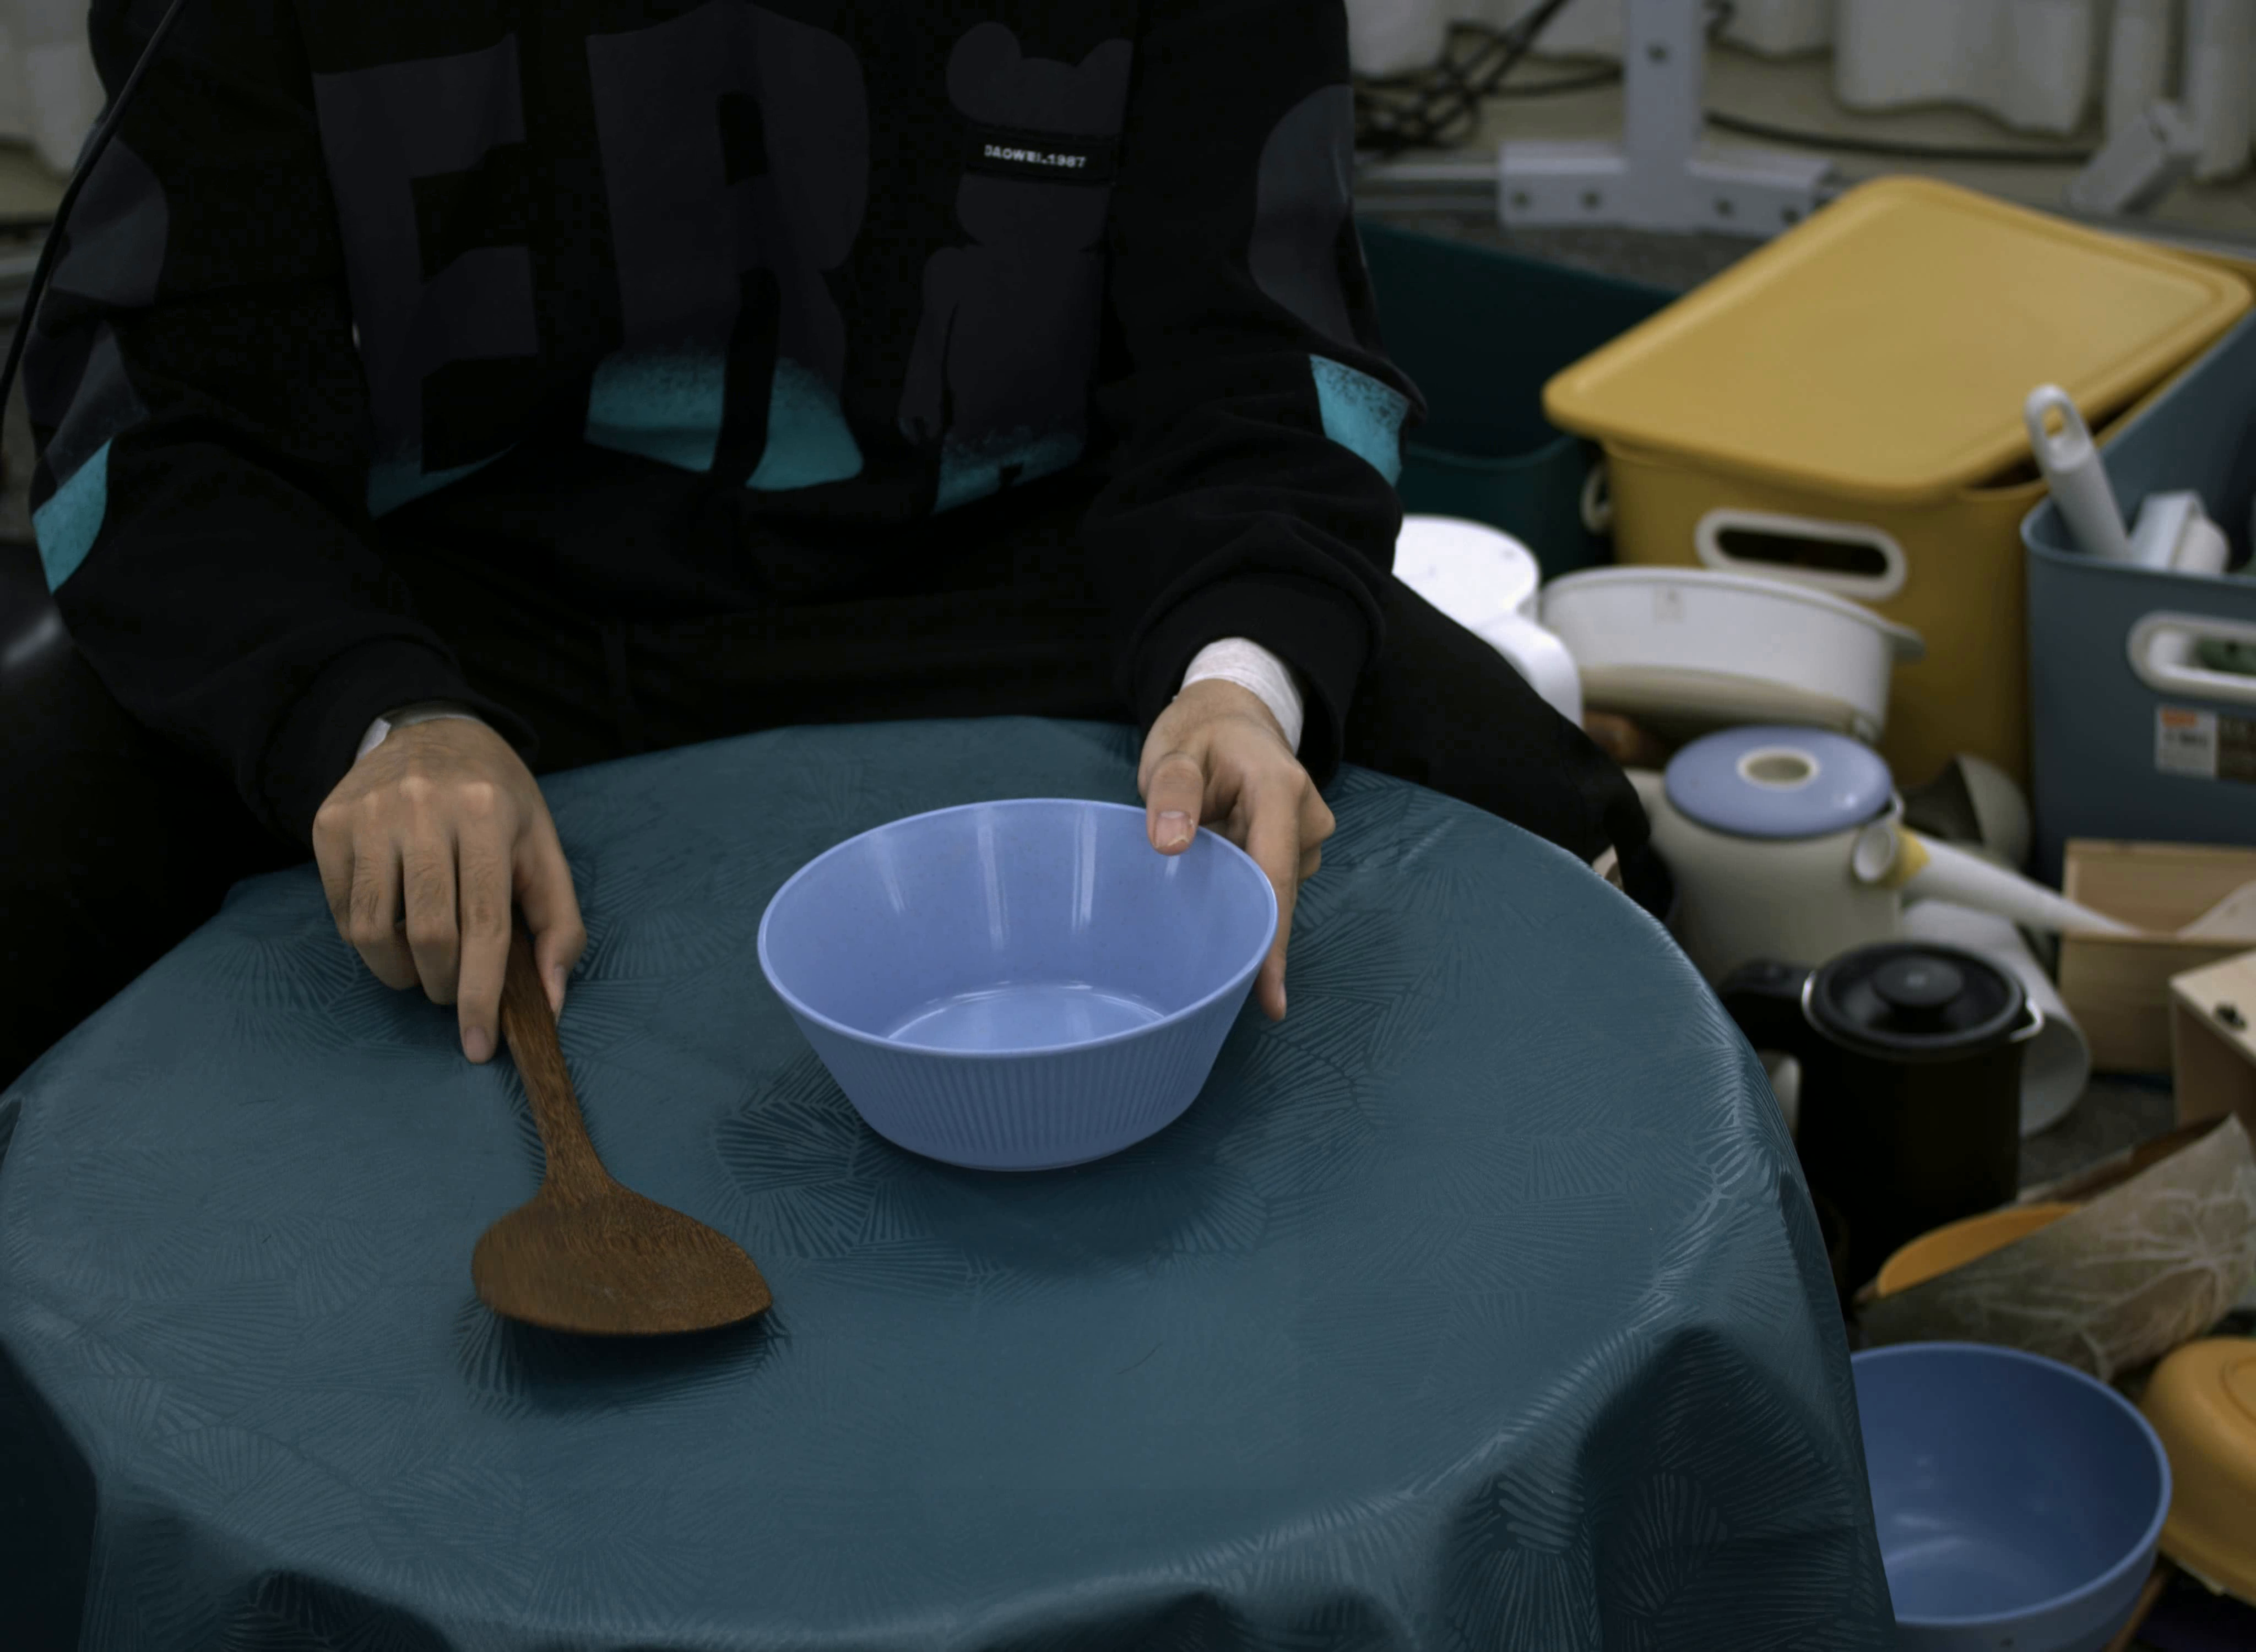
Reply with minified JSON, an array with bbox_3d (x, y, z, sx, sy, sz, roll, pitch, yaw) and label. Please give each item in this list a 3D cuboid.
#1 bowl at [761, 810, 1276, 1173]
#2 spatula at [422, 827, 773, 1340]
[{"bbox_3d":[-0.035,0.062,1.906,0.175,0.069,0.178,-2,26,1],"label":"bowl"},{"bbox_3d":[-0.202,0.082,1.932,0.096,0.015,0.390,4,24,-18],"label":"spatula"}]
